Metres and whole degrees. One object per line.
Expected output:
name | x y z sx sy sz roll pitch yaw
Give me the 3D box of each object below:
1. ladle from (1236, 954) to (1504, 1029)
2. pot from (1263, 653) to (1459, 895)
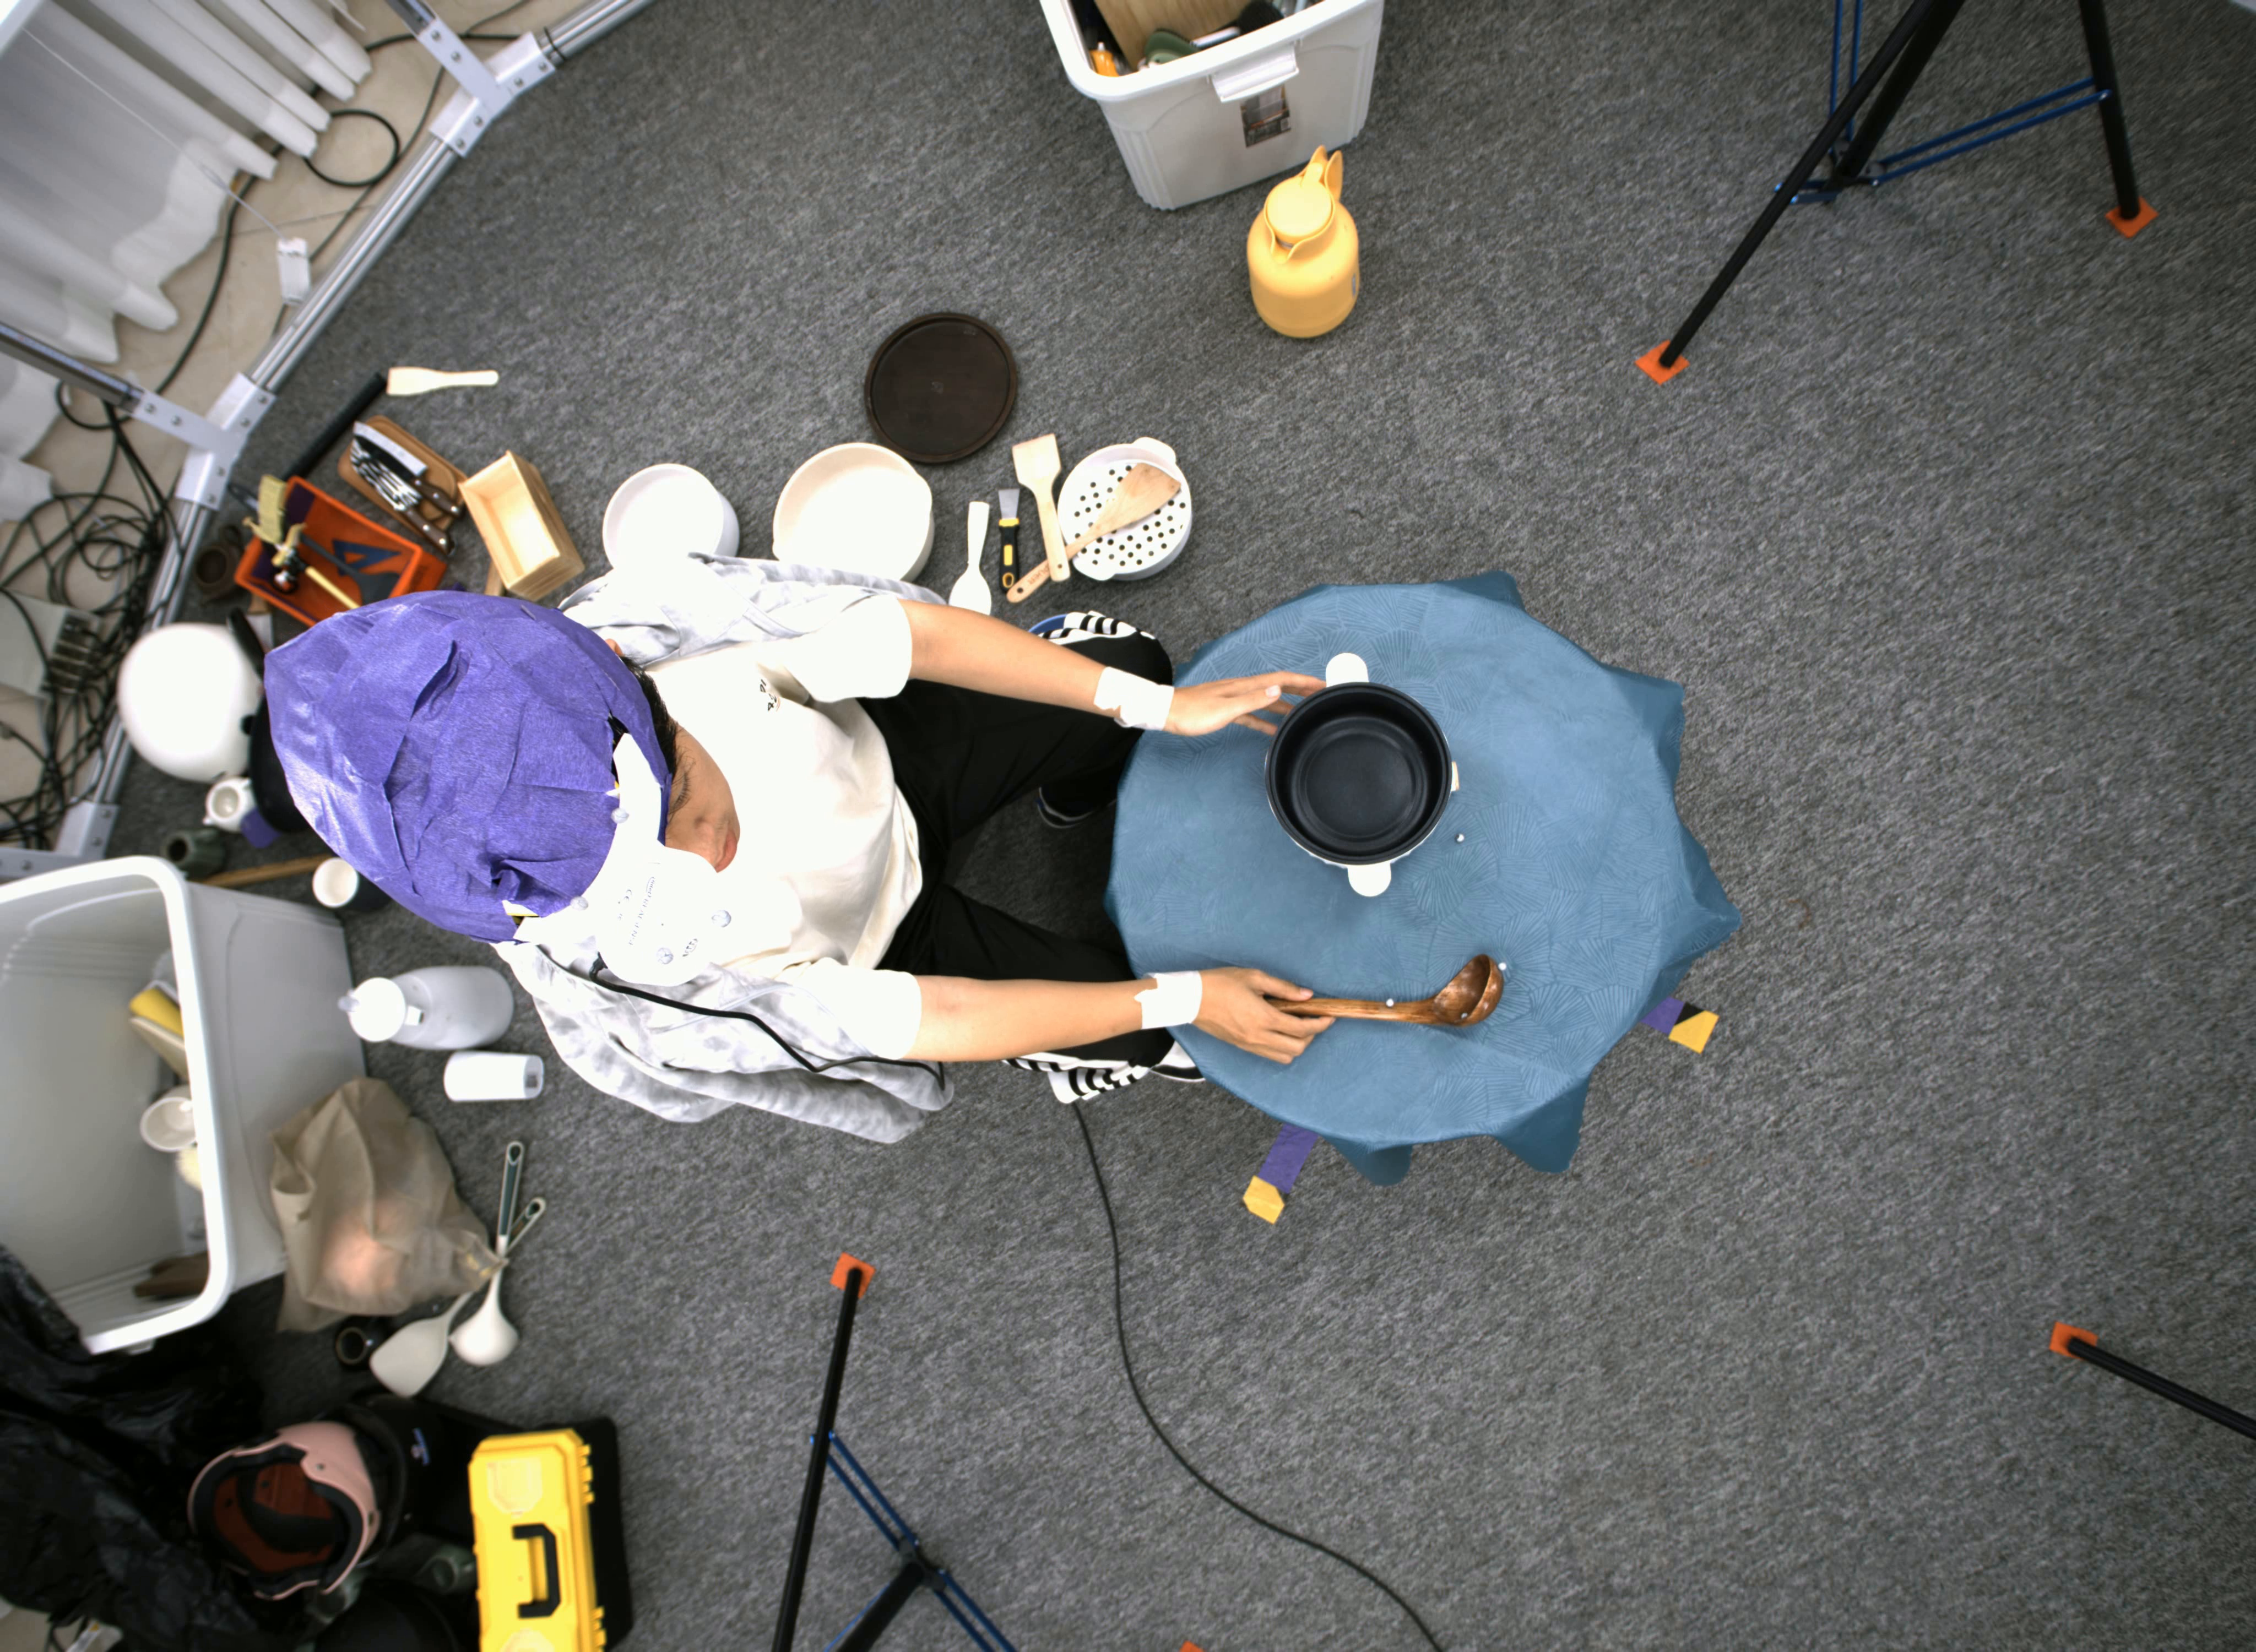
ladle | 0.245 0.167 1.421 0.275 0.080 0.078 1 122 12
pot | 0.239 -0.049 1.400 0.191 0.142 0.239 -7 86 13
